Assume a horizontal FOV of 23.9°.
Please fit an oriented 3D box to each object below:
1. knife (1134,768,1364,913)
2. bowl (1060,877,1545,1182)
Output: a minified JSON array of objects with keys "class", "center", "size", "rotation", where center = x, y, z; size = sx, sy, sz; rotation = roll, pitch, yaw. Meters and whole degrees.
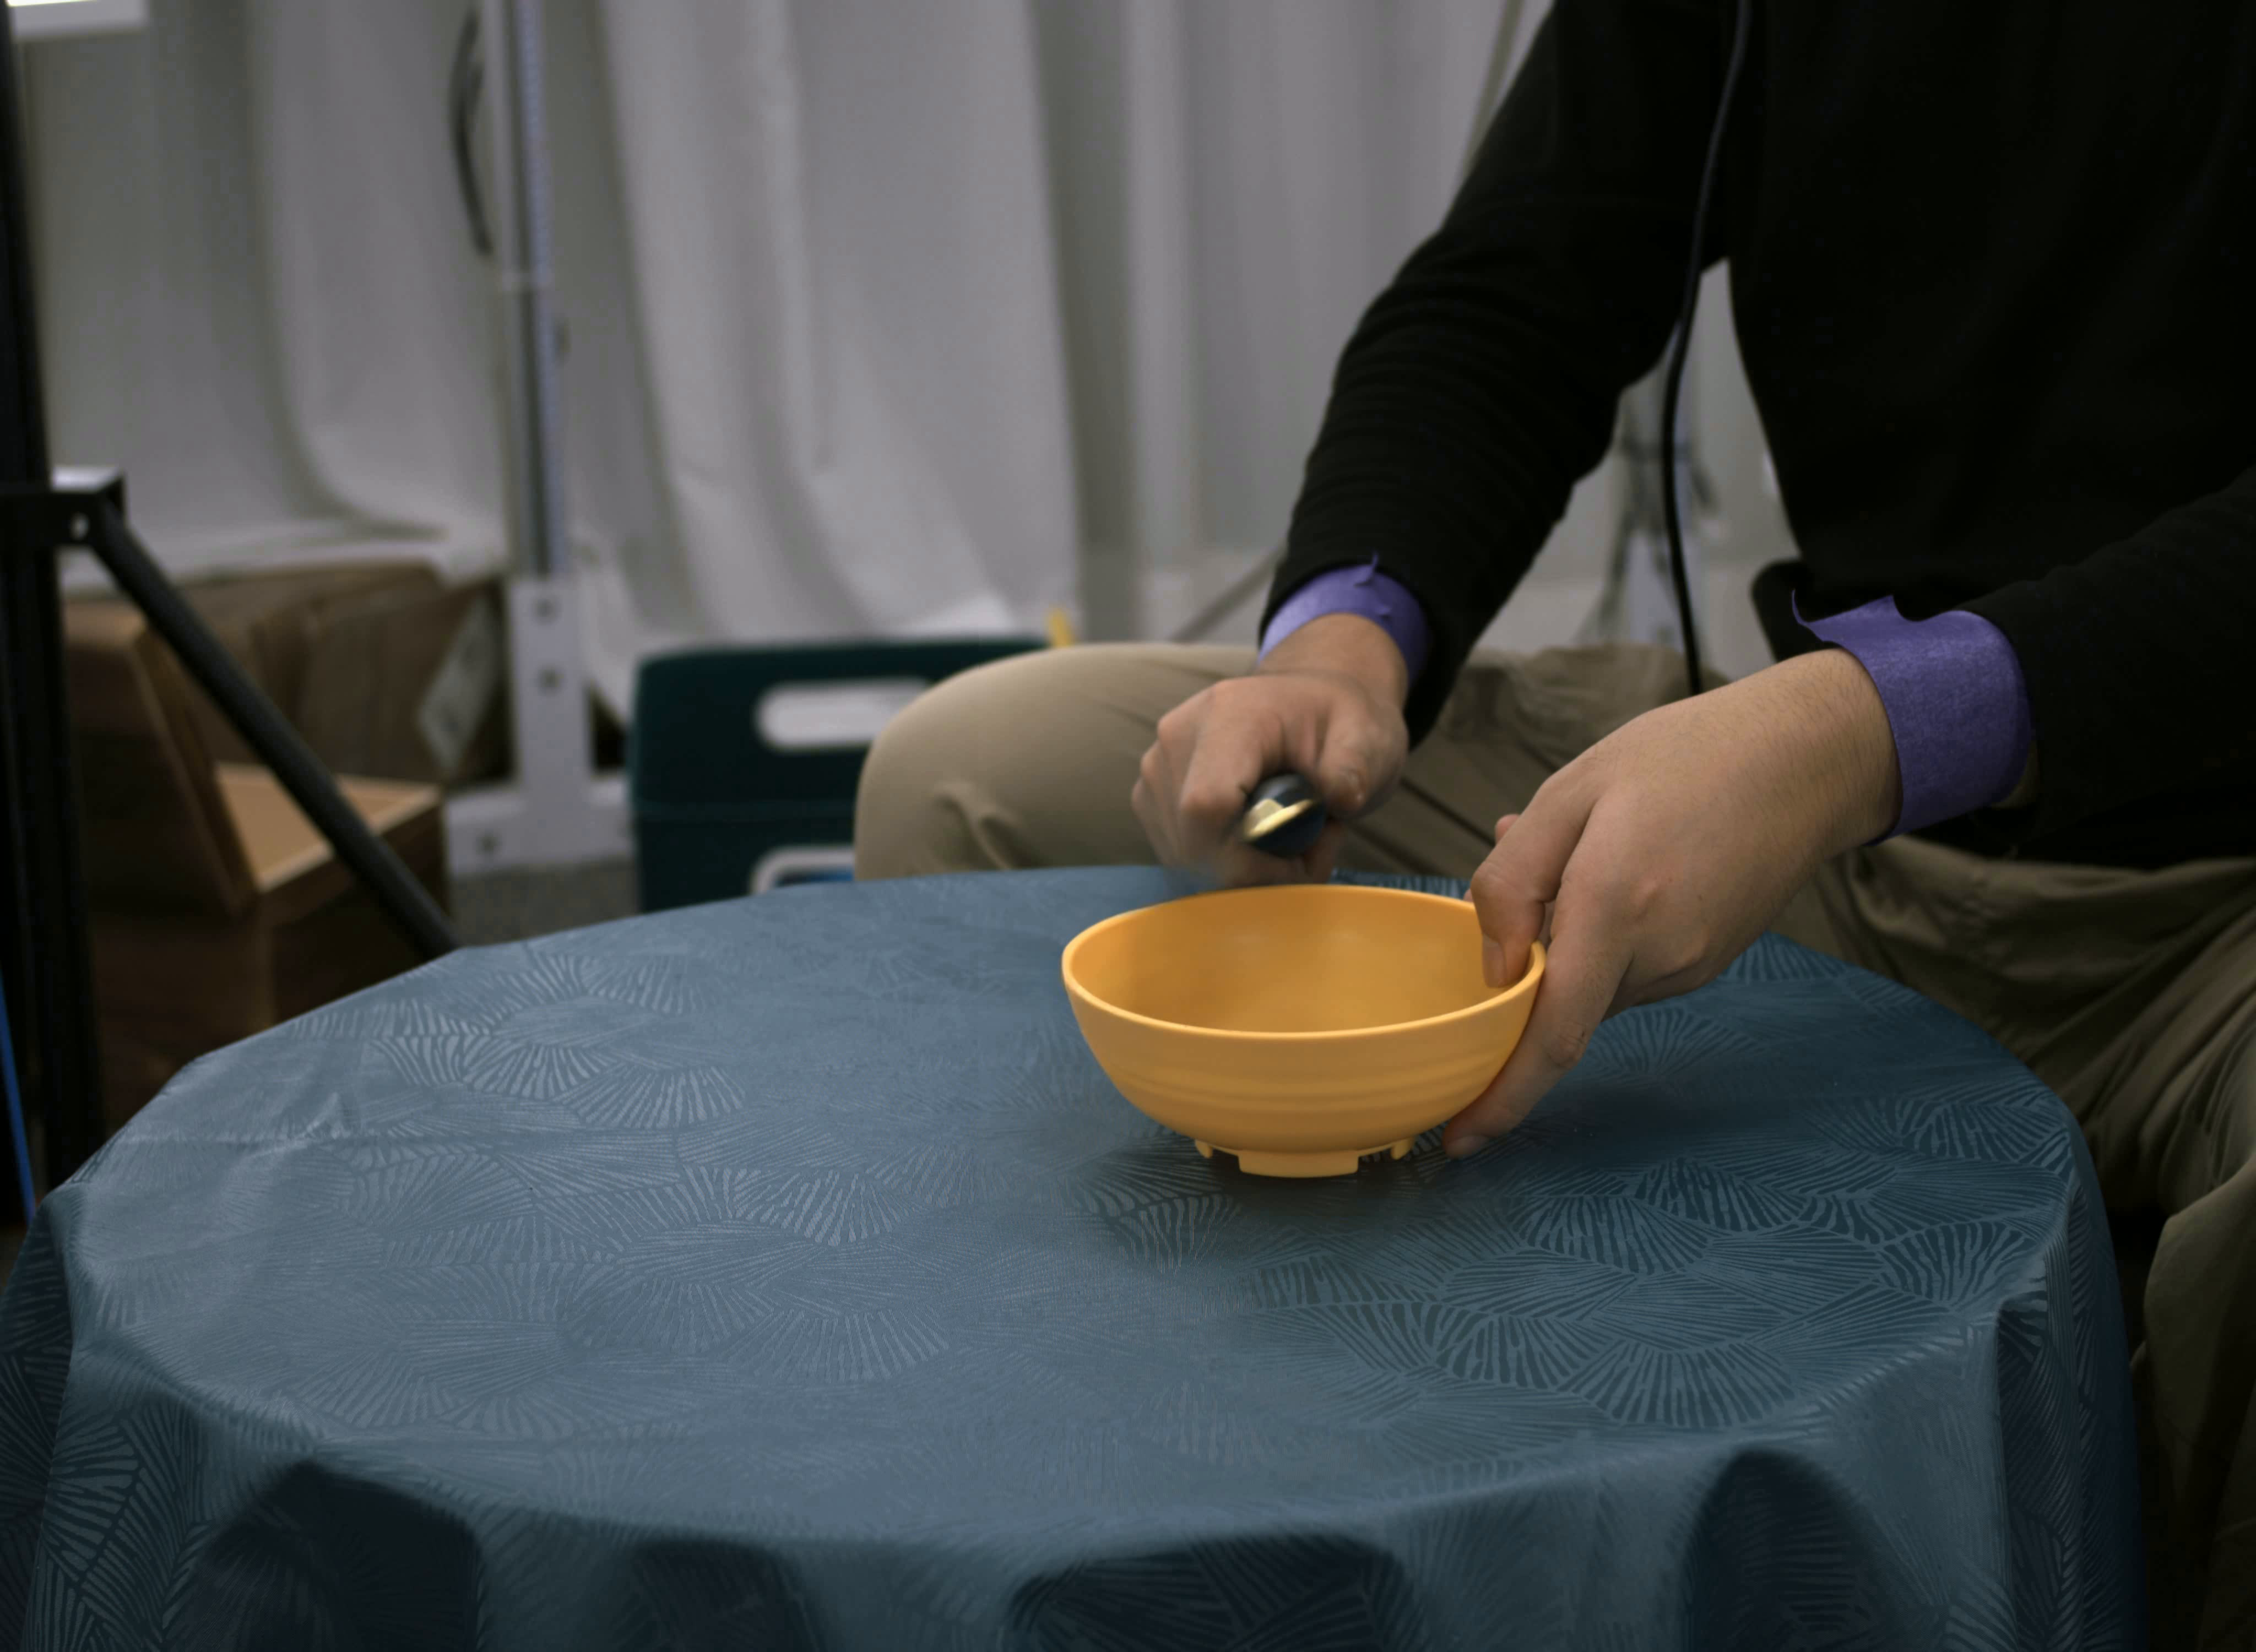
[{"class":"knife","center":[0.037,0.008,1.657],"size":[0.081,0.027,0.288],"rotation":[-29,-3,0]},{"class":"bowl","center":[0.052,0.066,1.577],"size":[0.144,0.060,0.146],"rotation":[-1,18,-1]}]
